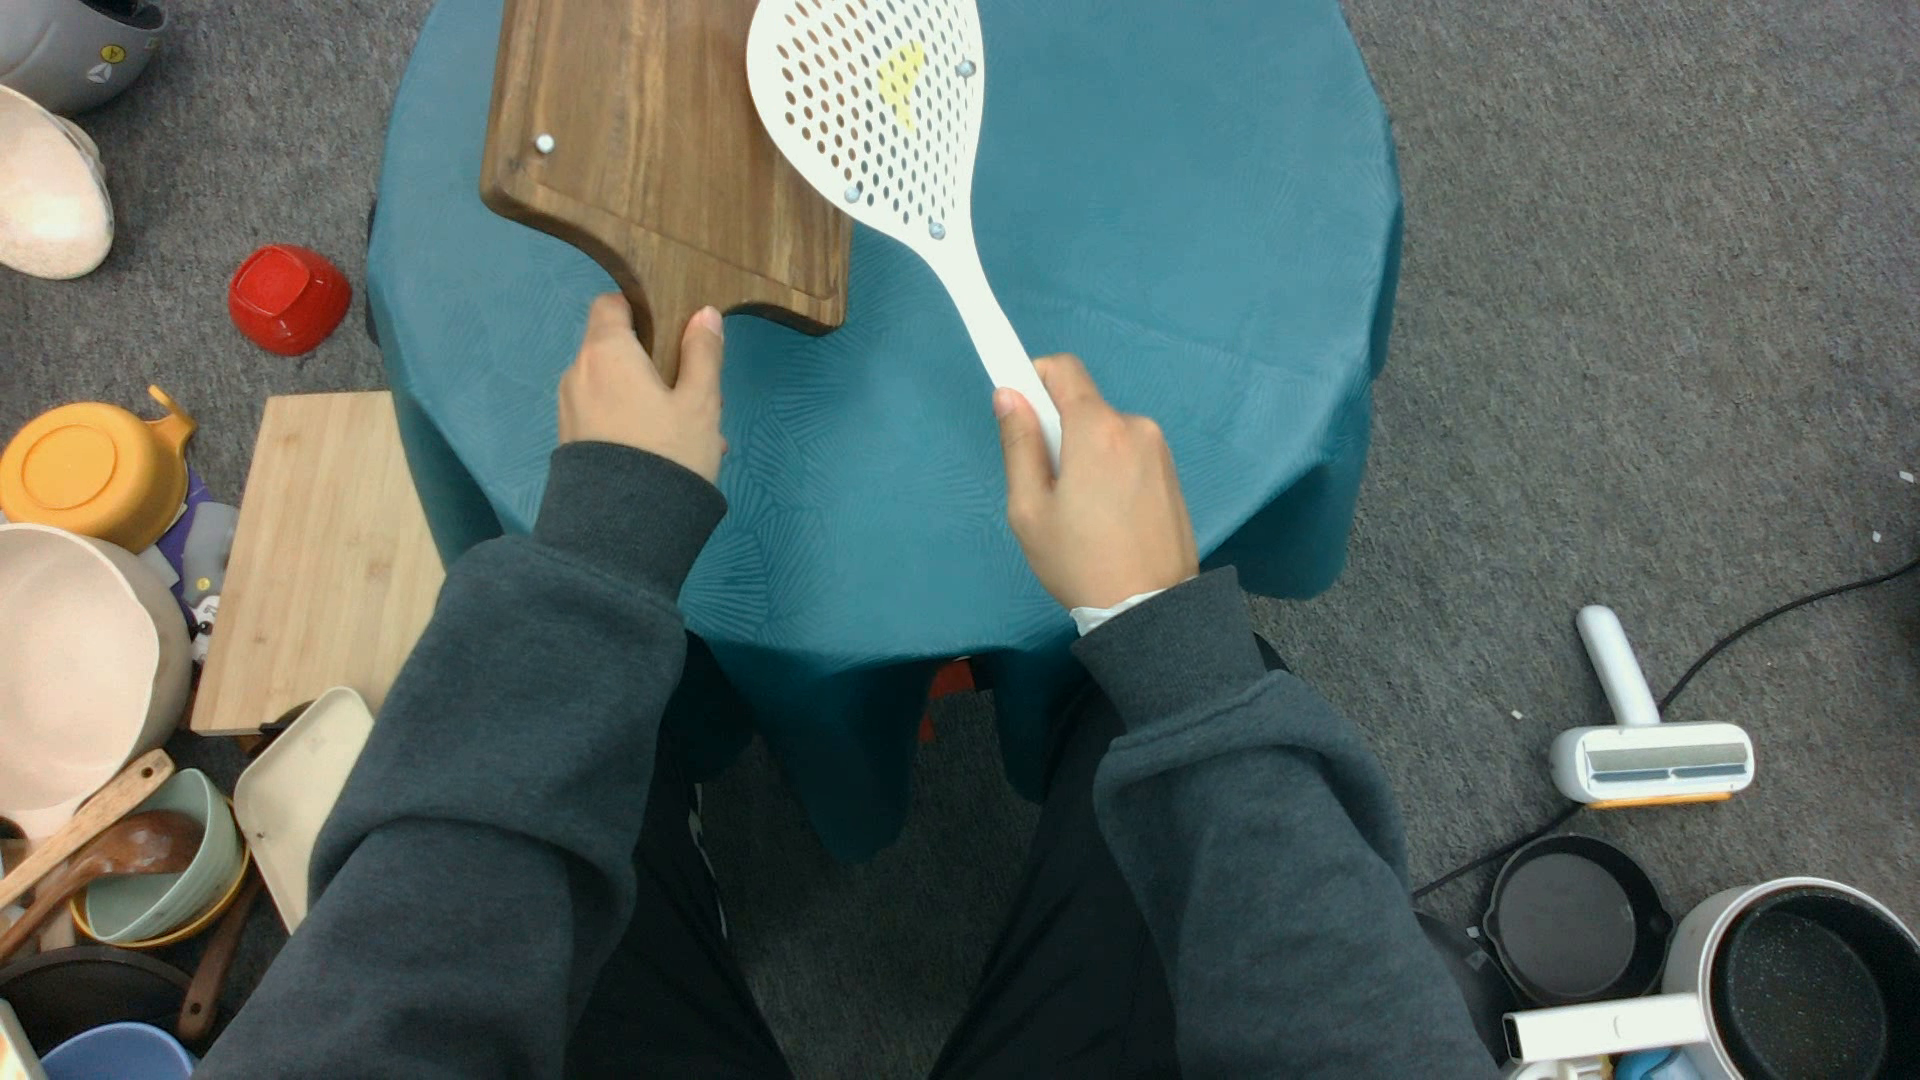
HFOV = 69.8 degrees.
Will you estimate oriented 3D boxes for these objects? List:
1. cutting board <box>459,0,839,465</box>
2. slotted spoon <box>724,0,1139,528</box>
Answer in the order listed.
[{"bbox_3d":[-0.147,-0.207,0.690,0.201,0.023,0.353,15,68,-40],"label":"cutting board"},{"bbox_3d":[-0.008,-0.157,0.661,0.136,0.050,0.348,-32,72,26],"label":"slotted spoon"}]
